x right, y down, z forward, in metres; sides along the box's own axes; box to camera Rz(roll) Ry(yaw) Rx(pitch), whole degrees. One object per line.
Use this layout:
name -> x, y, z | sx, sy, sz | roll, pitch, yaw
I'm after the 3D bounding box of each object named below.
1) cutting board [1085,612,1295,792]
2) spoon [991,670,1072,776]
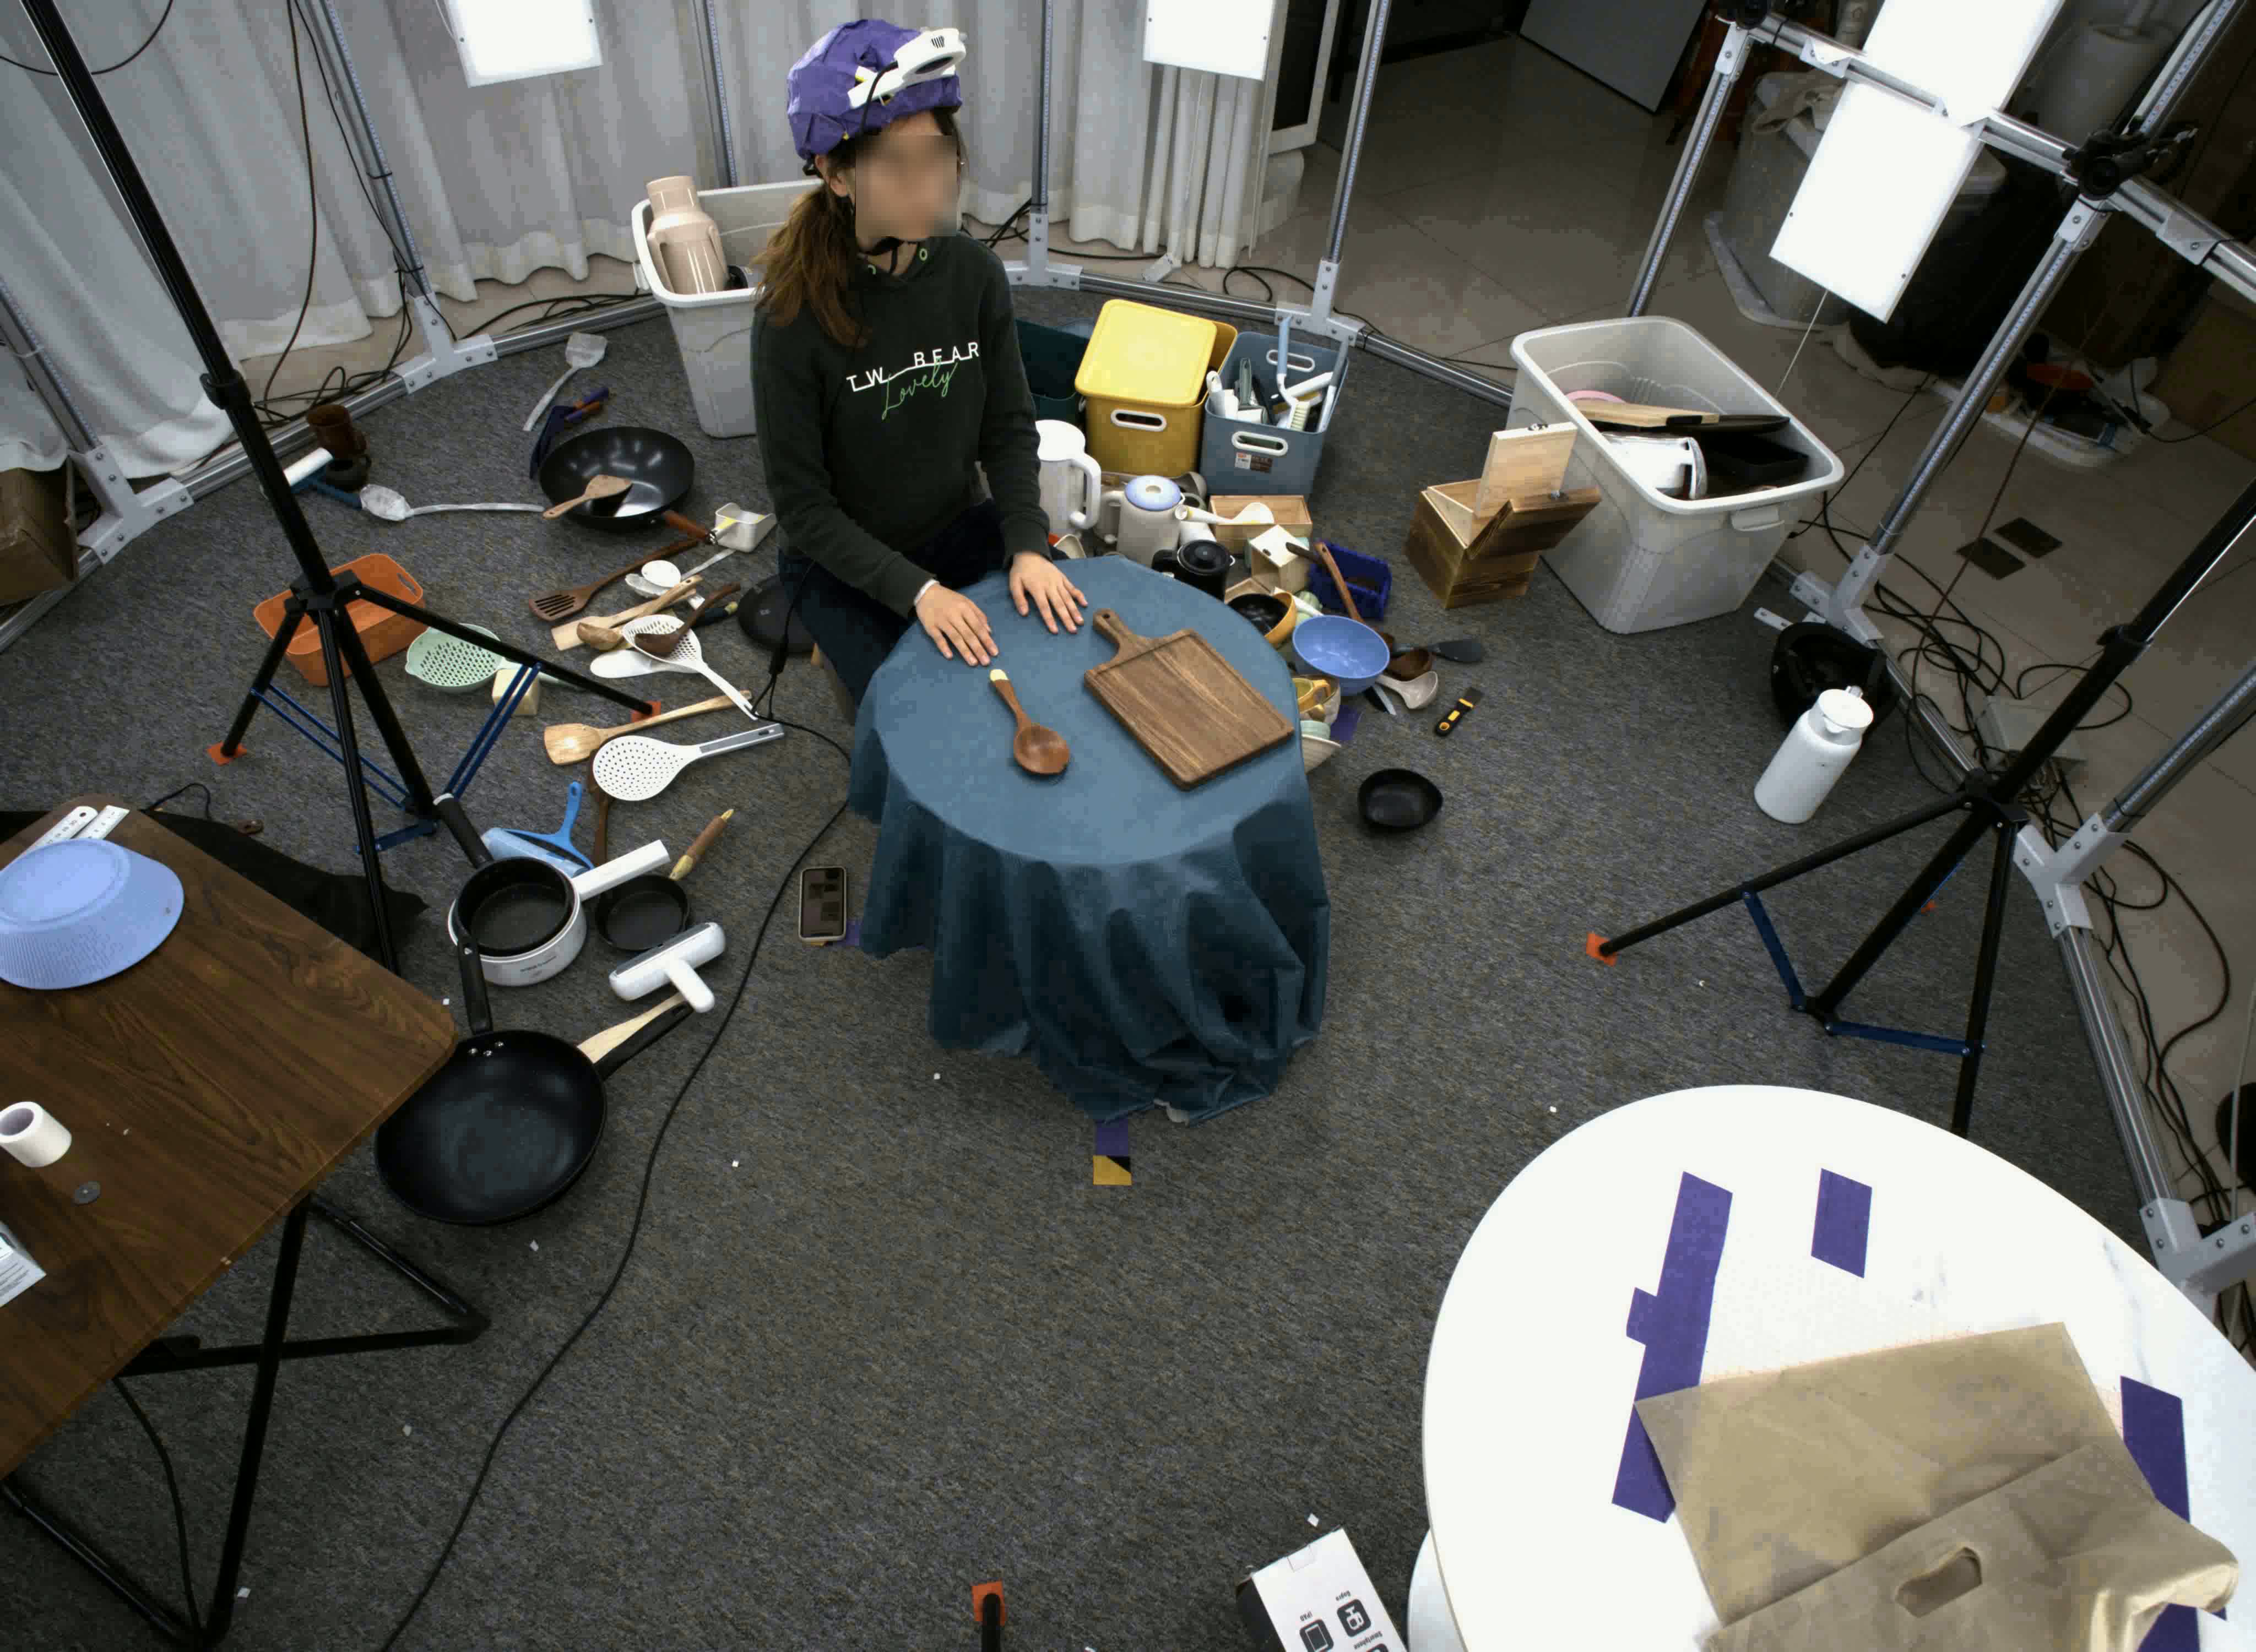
cutting board -> 0.058, -0.202, 1.853 | 0.202, 0.022, 0.359 | -26, 55, -23
spoon -> -0.142, -0.144, 1.789 | 0.075, 0.017, 0.221 | -18, 53, -17
